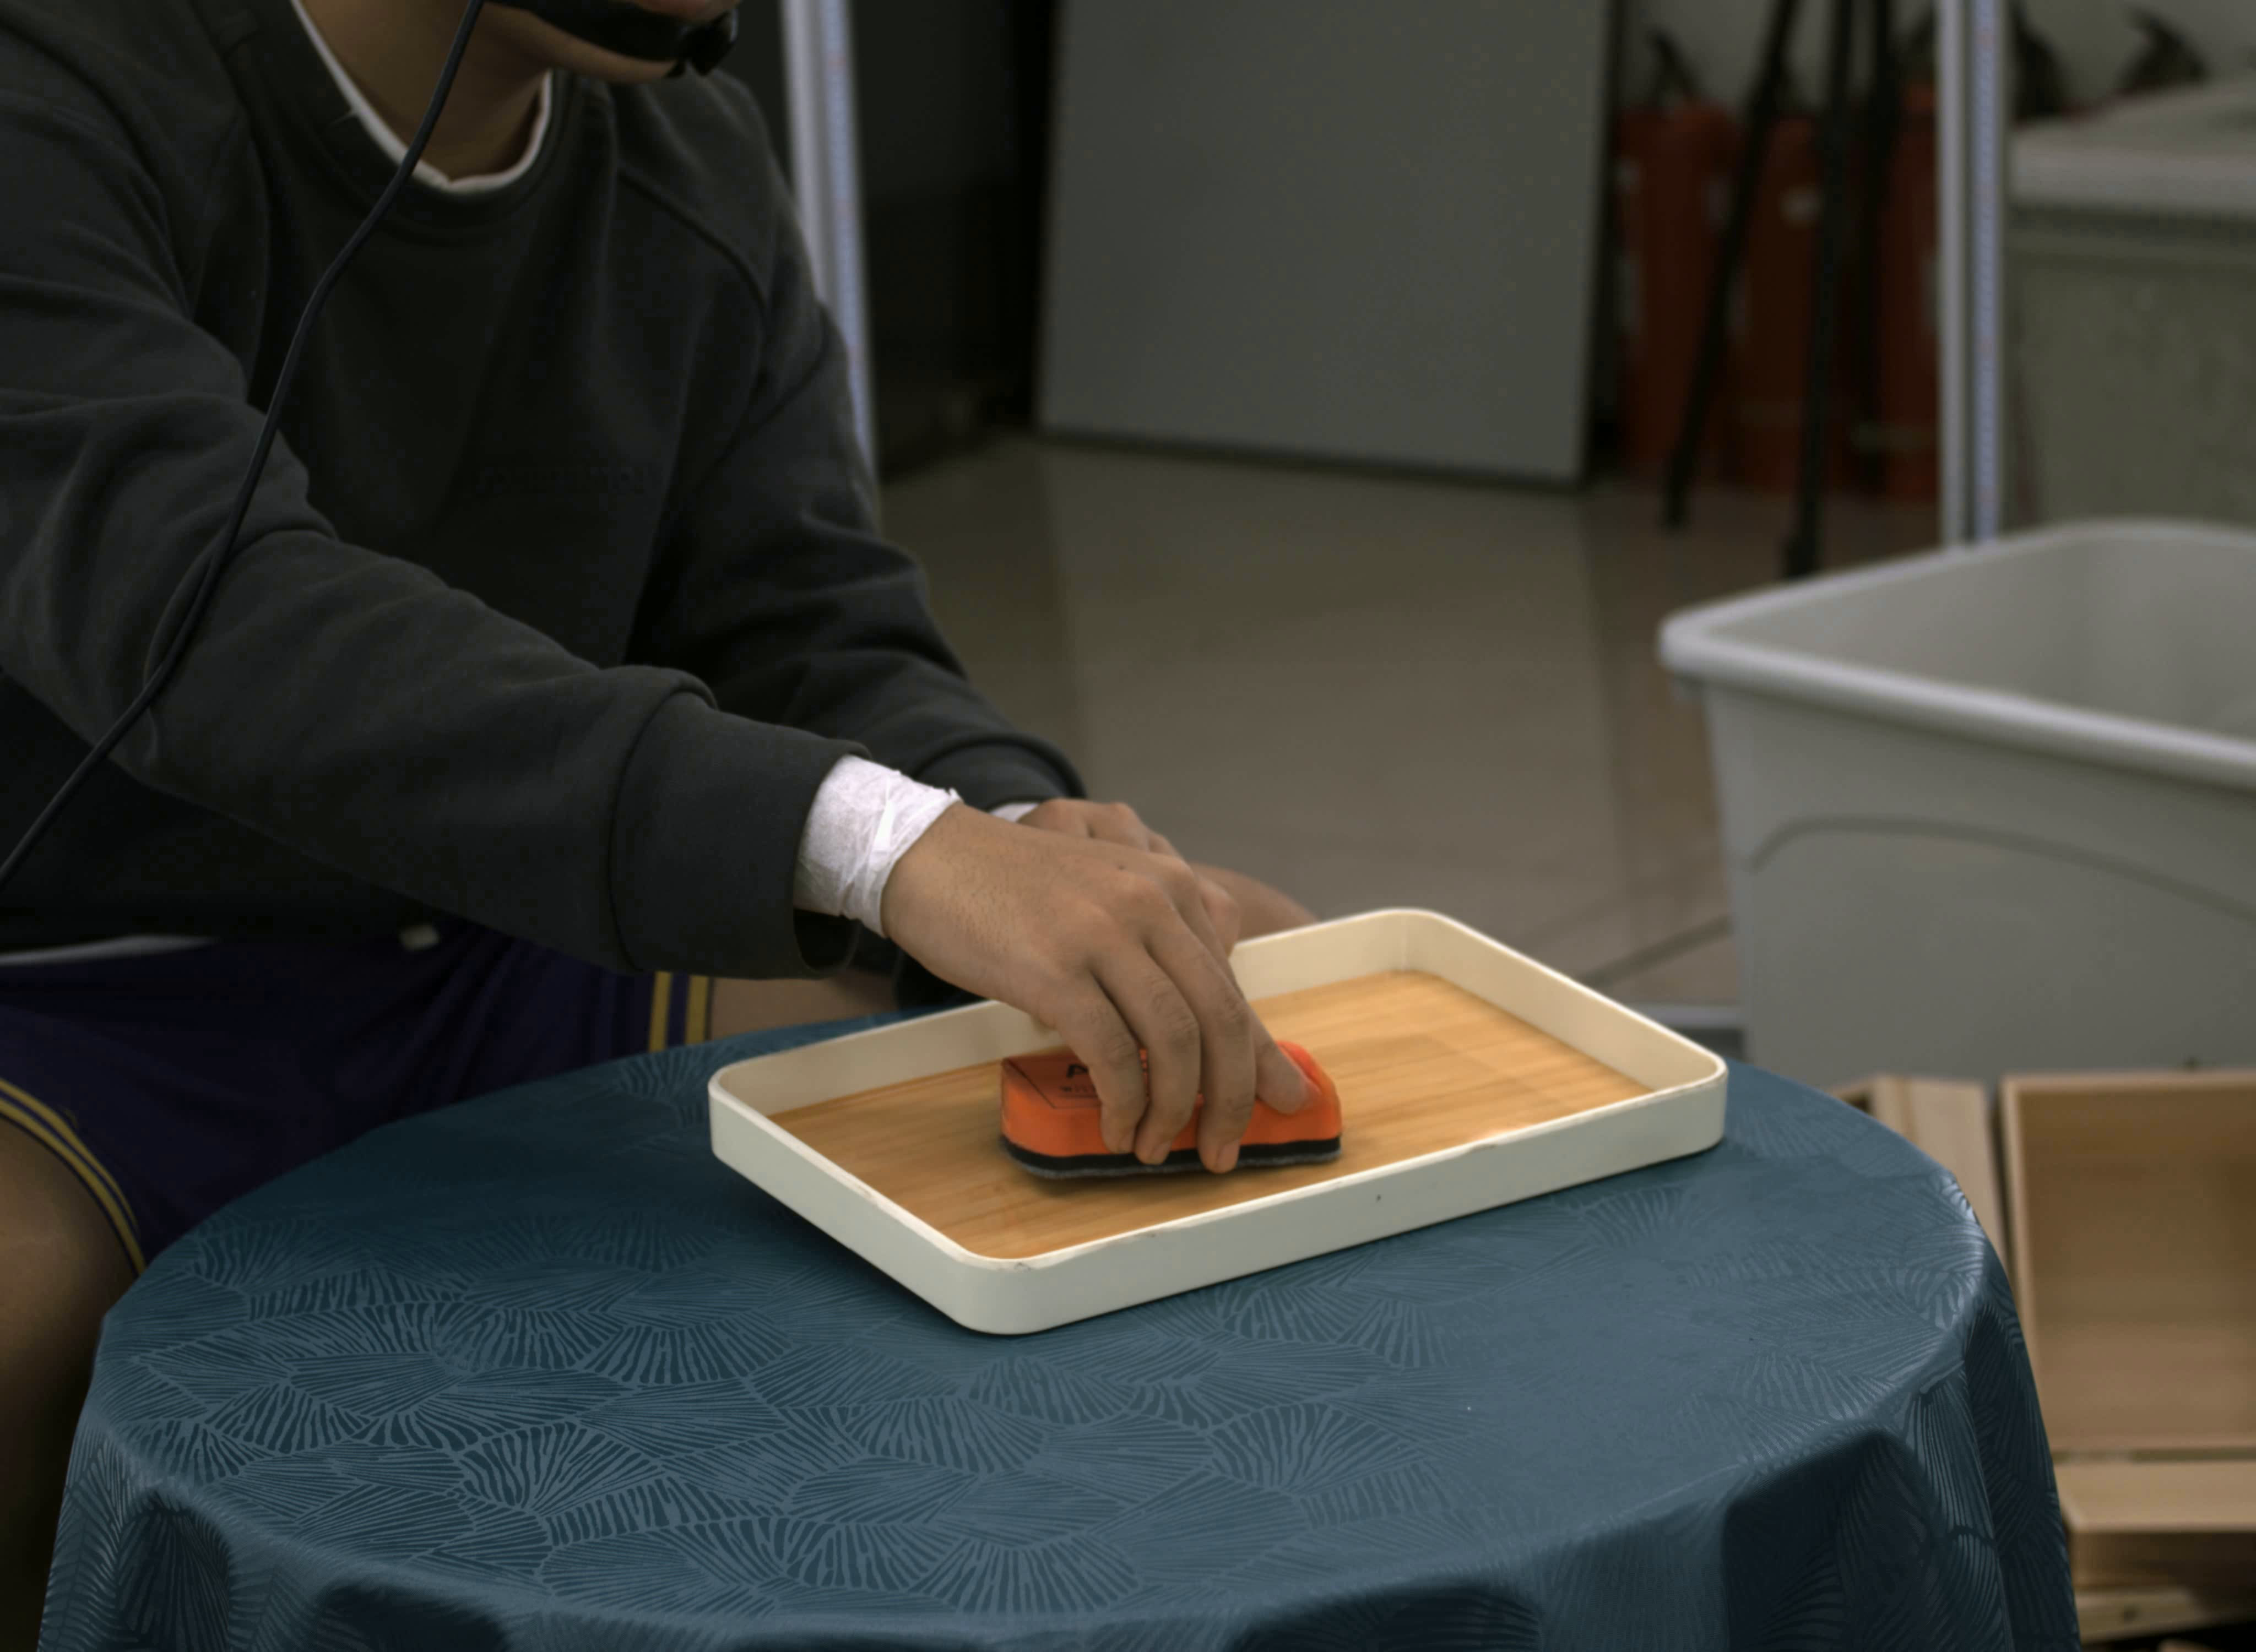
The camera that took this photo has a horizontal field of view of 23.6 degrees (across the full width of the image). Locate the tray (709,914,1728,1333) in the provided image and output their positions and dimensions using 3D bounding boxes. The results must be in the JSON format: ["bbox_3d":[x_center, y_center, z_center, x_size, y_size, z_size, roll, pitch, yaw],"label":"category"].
[{"bbox_3d":[0.031,0.093,1.773,0.293,0.028,0.194,-12,22,-30],"label":"tray"}]

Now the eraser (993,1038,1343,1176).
[{"bbox_3d":[0.013,0.091,1.754,0.106,0.023,0.059,-3,19,-17],"label":"eraser"}]
